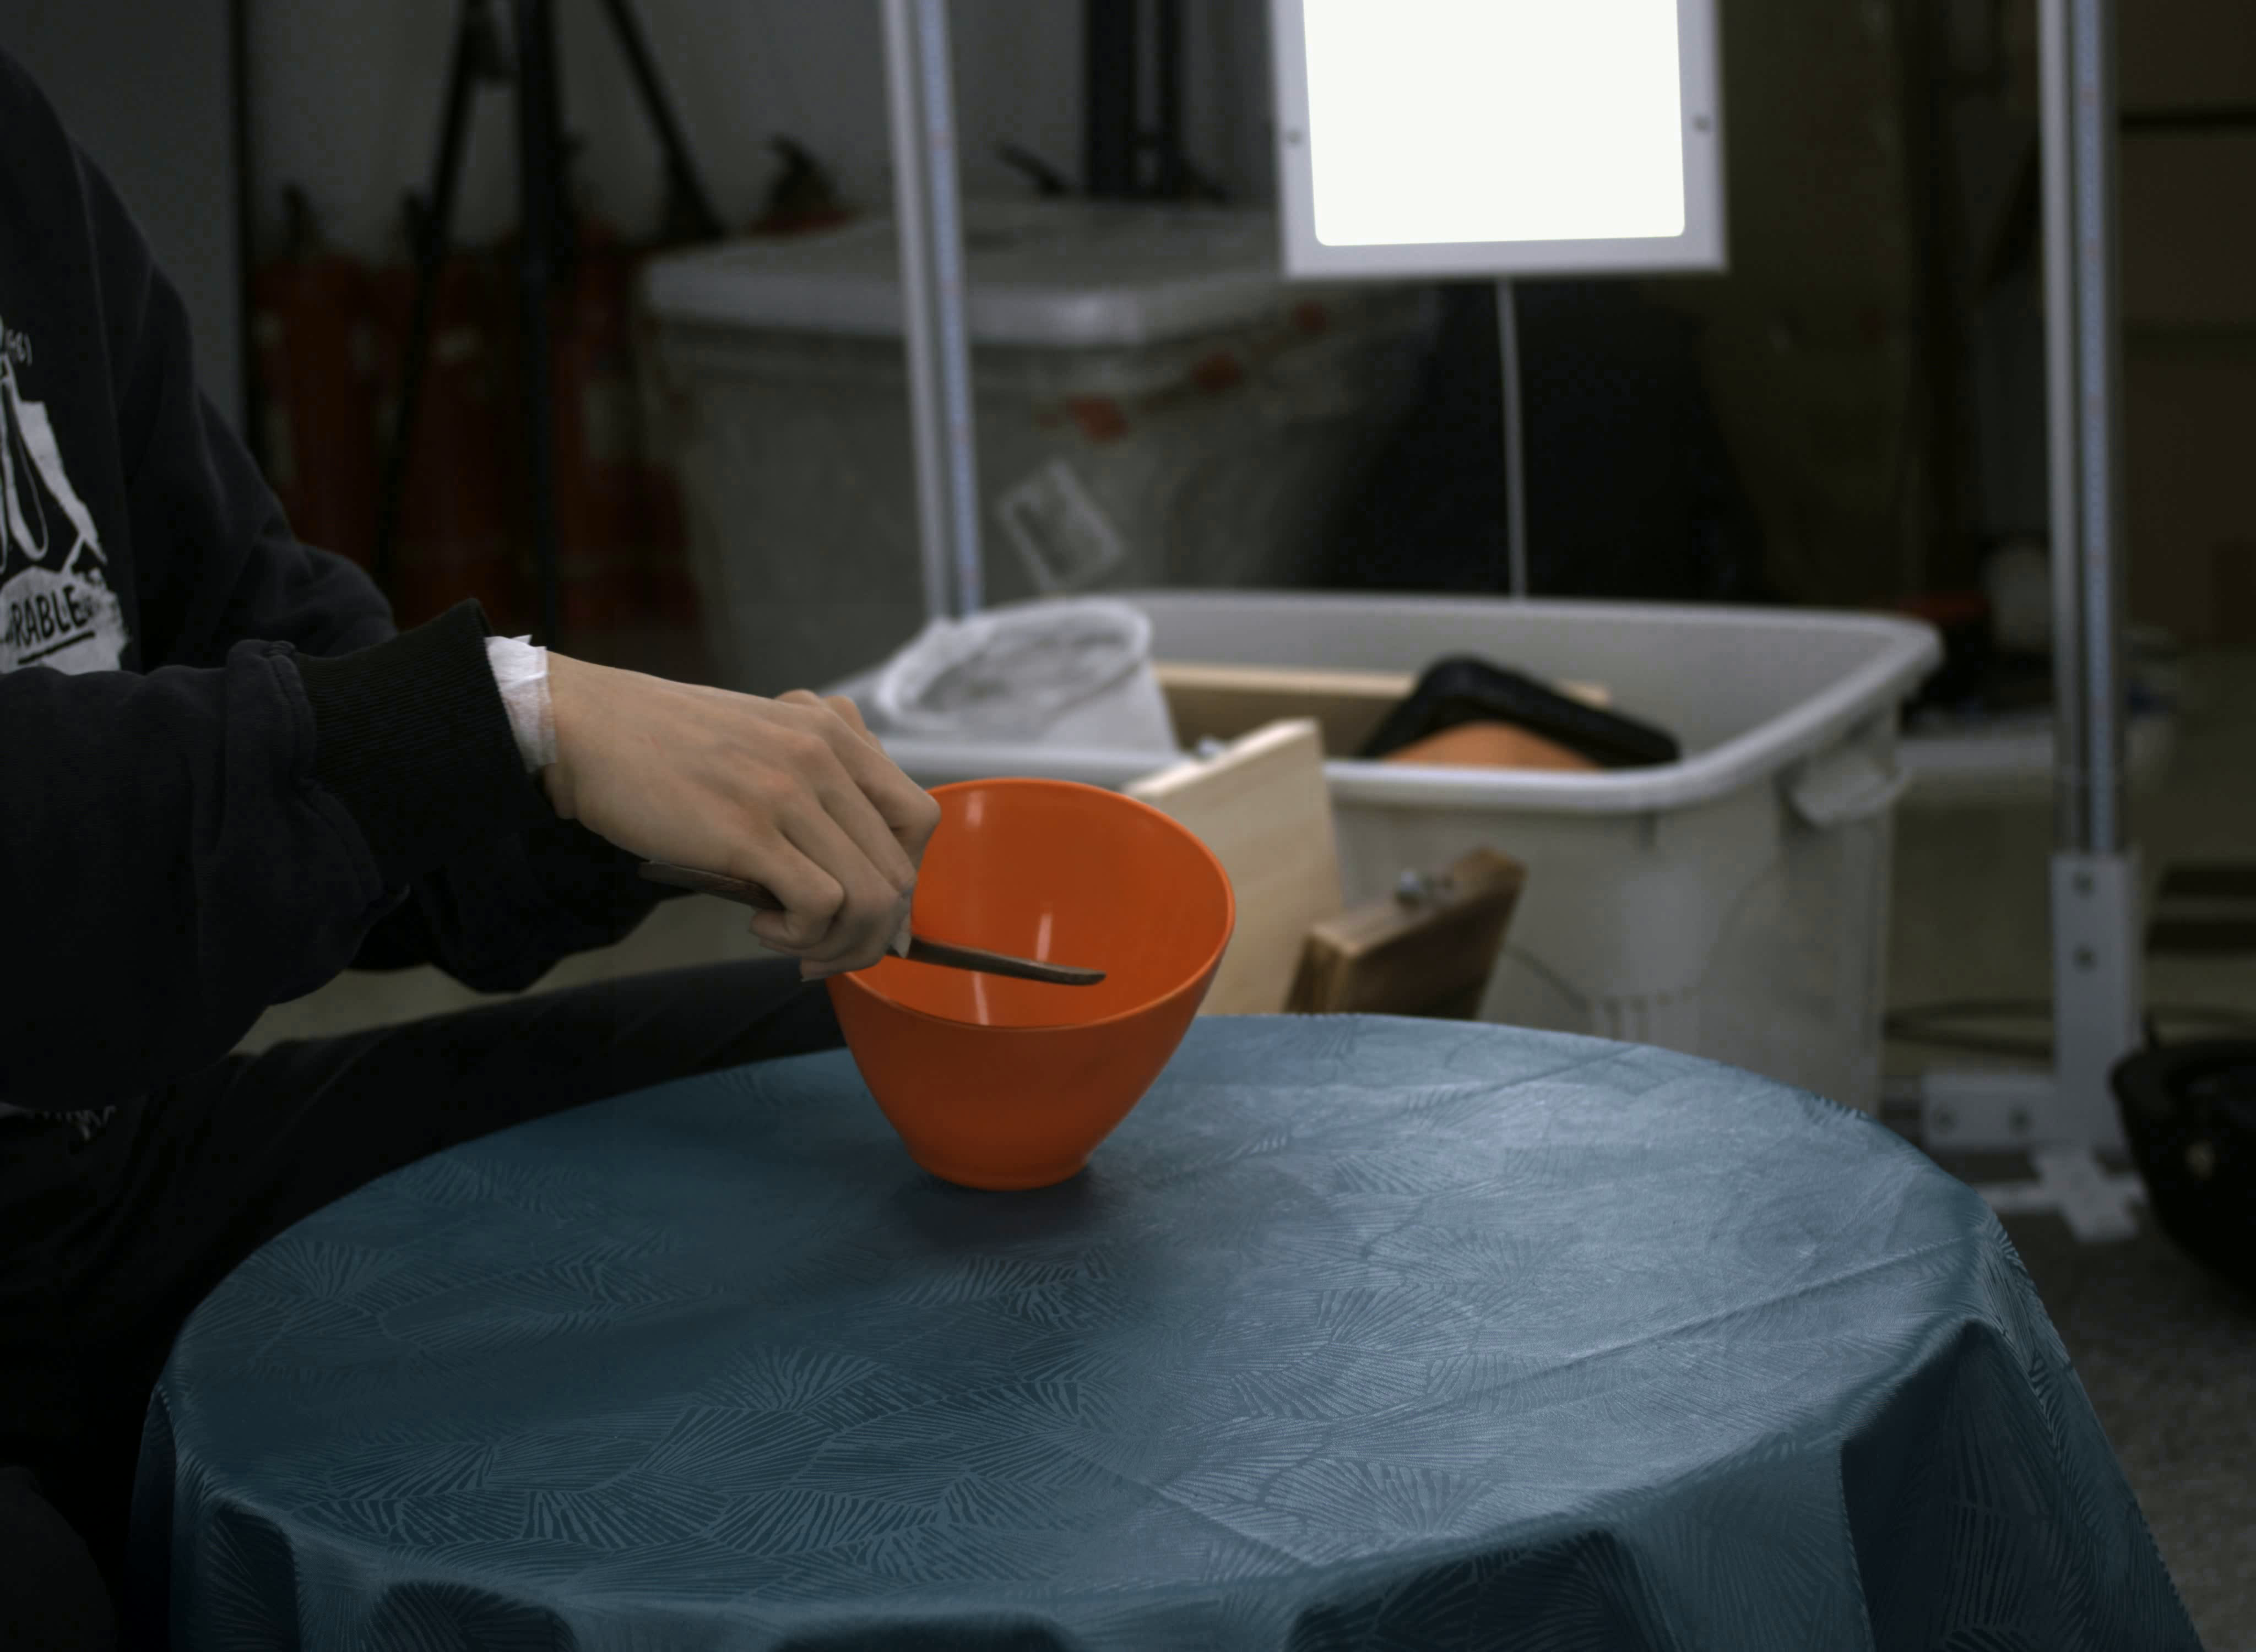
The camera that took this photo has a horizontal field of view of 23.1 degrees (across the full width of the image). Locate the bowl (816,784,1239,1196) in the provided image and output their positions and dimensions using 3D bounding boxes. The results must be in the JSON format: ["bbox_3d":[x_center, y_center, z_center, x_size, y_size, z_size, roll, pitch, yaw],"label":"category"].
[{"bbox_3d":[-0.038,0.063,1.924,0.147,0.105,0.147,3,26,-3],"label":"bowl"}]

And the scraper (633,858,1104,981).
[{"bbox_3d":[-0.090,0.031,1.789,0.077,0.011,0.207,7,-6,35],"label":"scraper"}]
